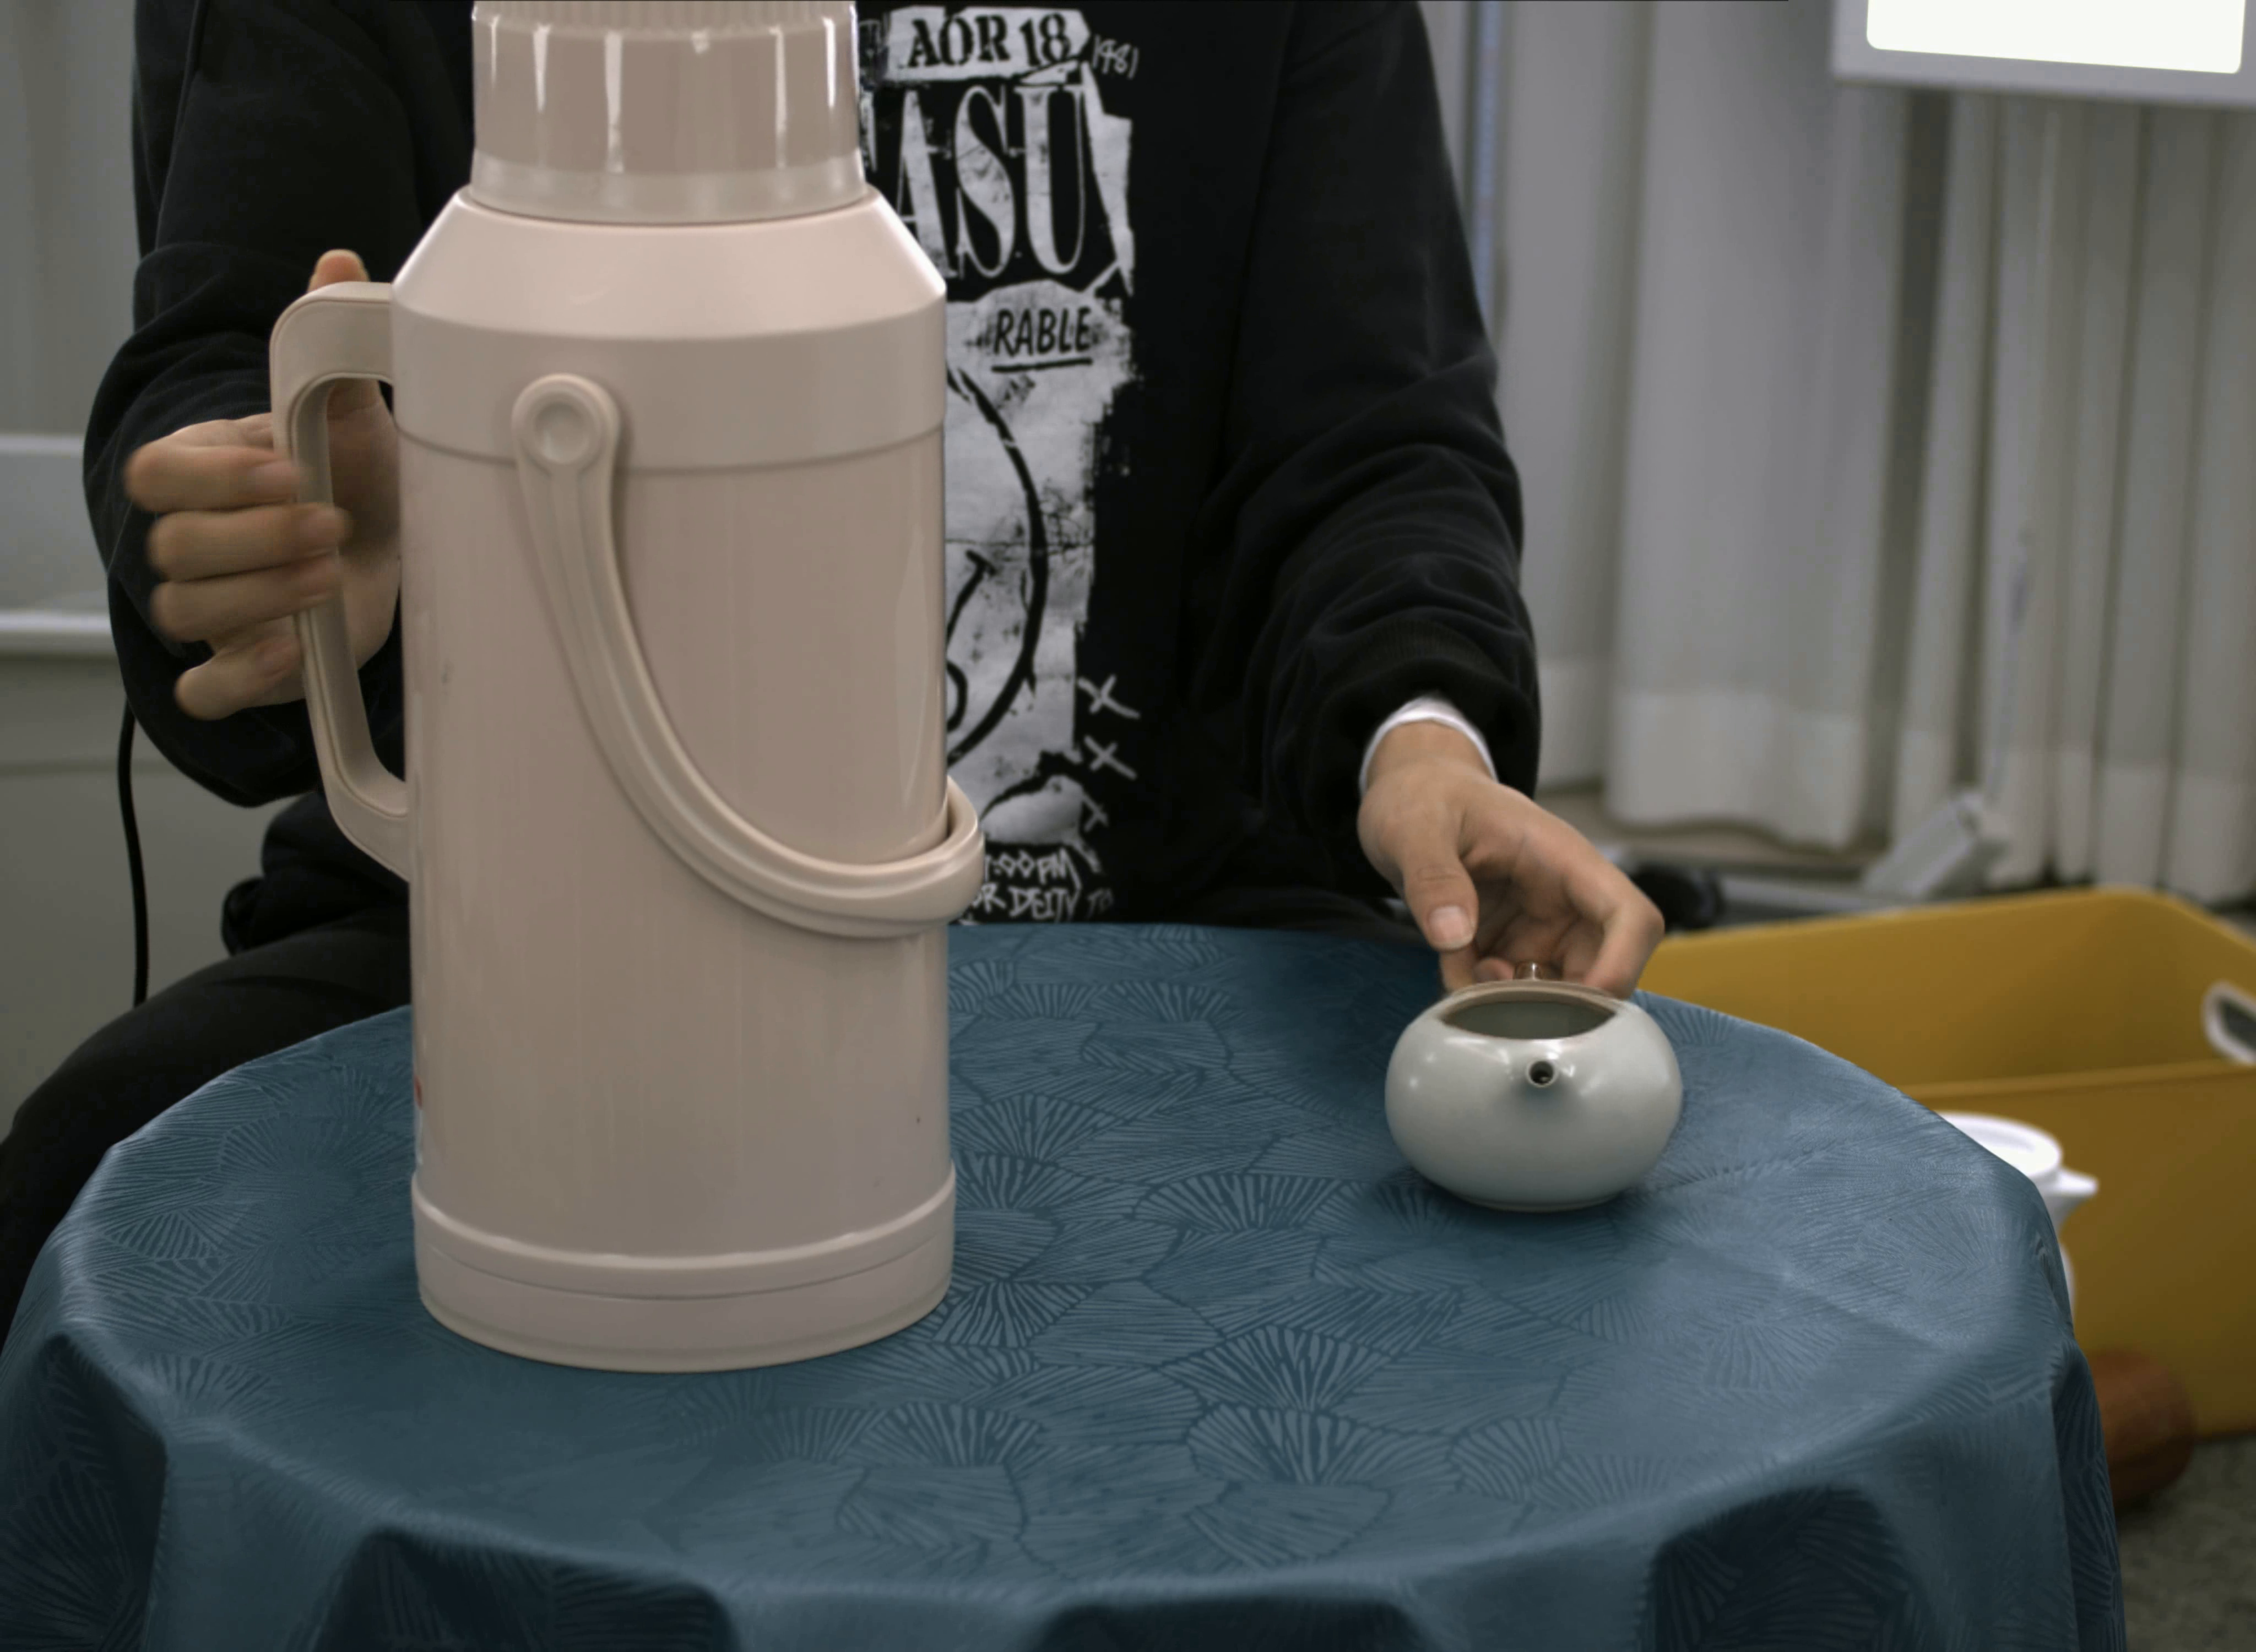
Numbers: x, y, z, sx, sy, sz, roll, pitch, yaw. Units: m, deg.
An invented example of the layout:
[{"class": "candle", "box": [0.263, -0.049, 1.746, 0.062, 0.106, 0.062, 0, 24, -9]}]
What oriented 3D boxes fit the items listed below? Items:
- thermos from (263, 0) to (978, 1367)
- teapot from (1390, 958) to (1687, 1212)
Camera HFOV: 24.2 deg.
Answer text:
[{"class": "thermos", "box": [-0.144, -0.060, 1.496, 0.205, 0.410, 0.175, 5, 18, 12]}, {"class": "teapot", "box": [0.126, 0.080, 1.632, 0.091, 0.060, 0.127, -3, 16, 0]}]
